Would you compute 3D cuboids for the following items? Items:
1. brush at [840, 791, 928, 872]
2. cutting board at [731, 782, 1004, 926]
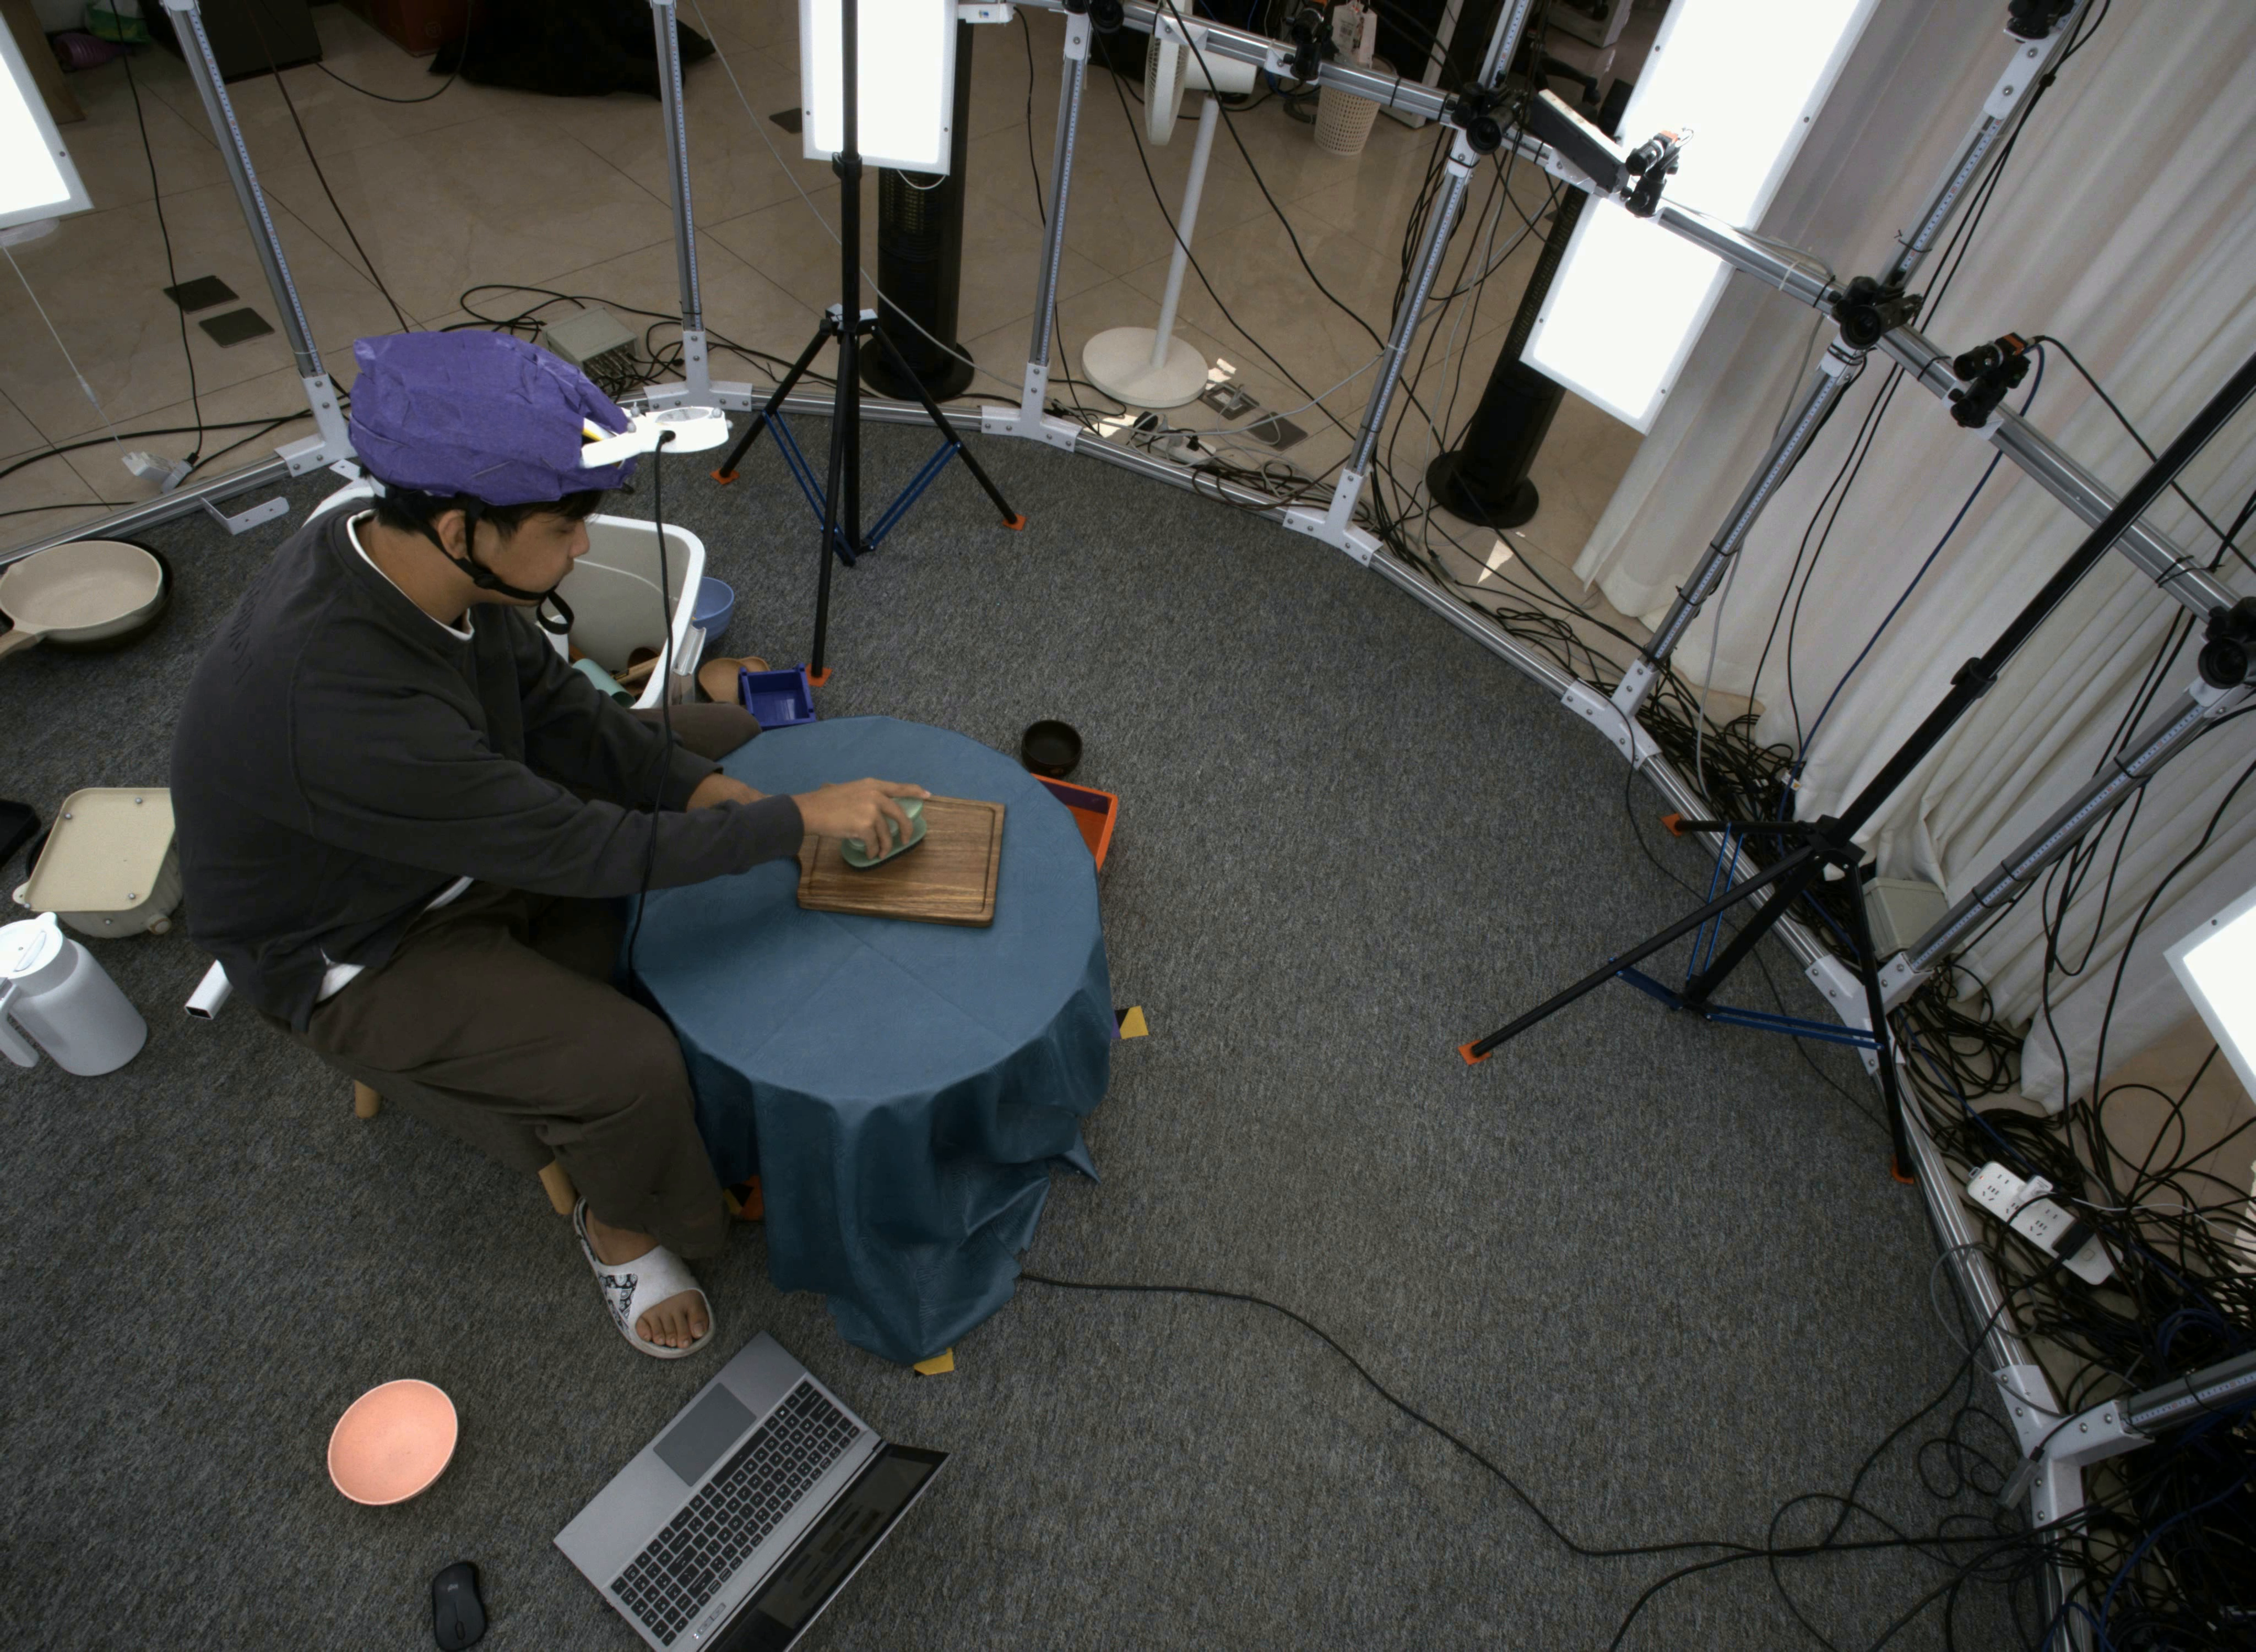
[{"bbox_3d":[-0.316,0.009,1.689,0.123,0.078,0.058,-35,62,-15],"label":"brush"},{"bbox_3d":[-0.342,0.028,1.706,0.351,0.023,0.197,7,52,-9],"label":"cutting board"}]
